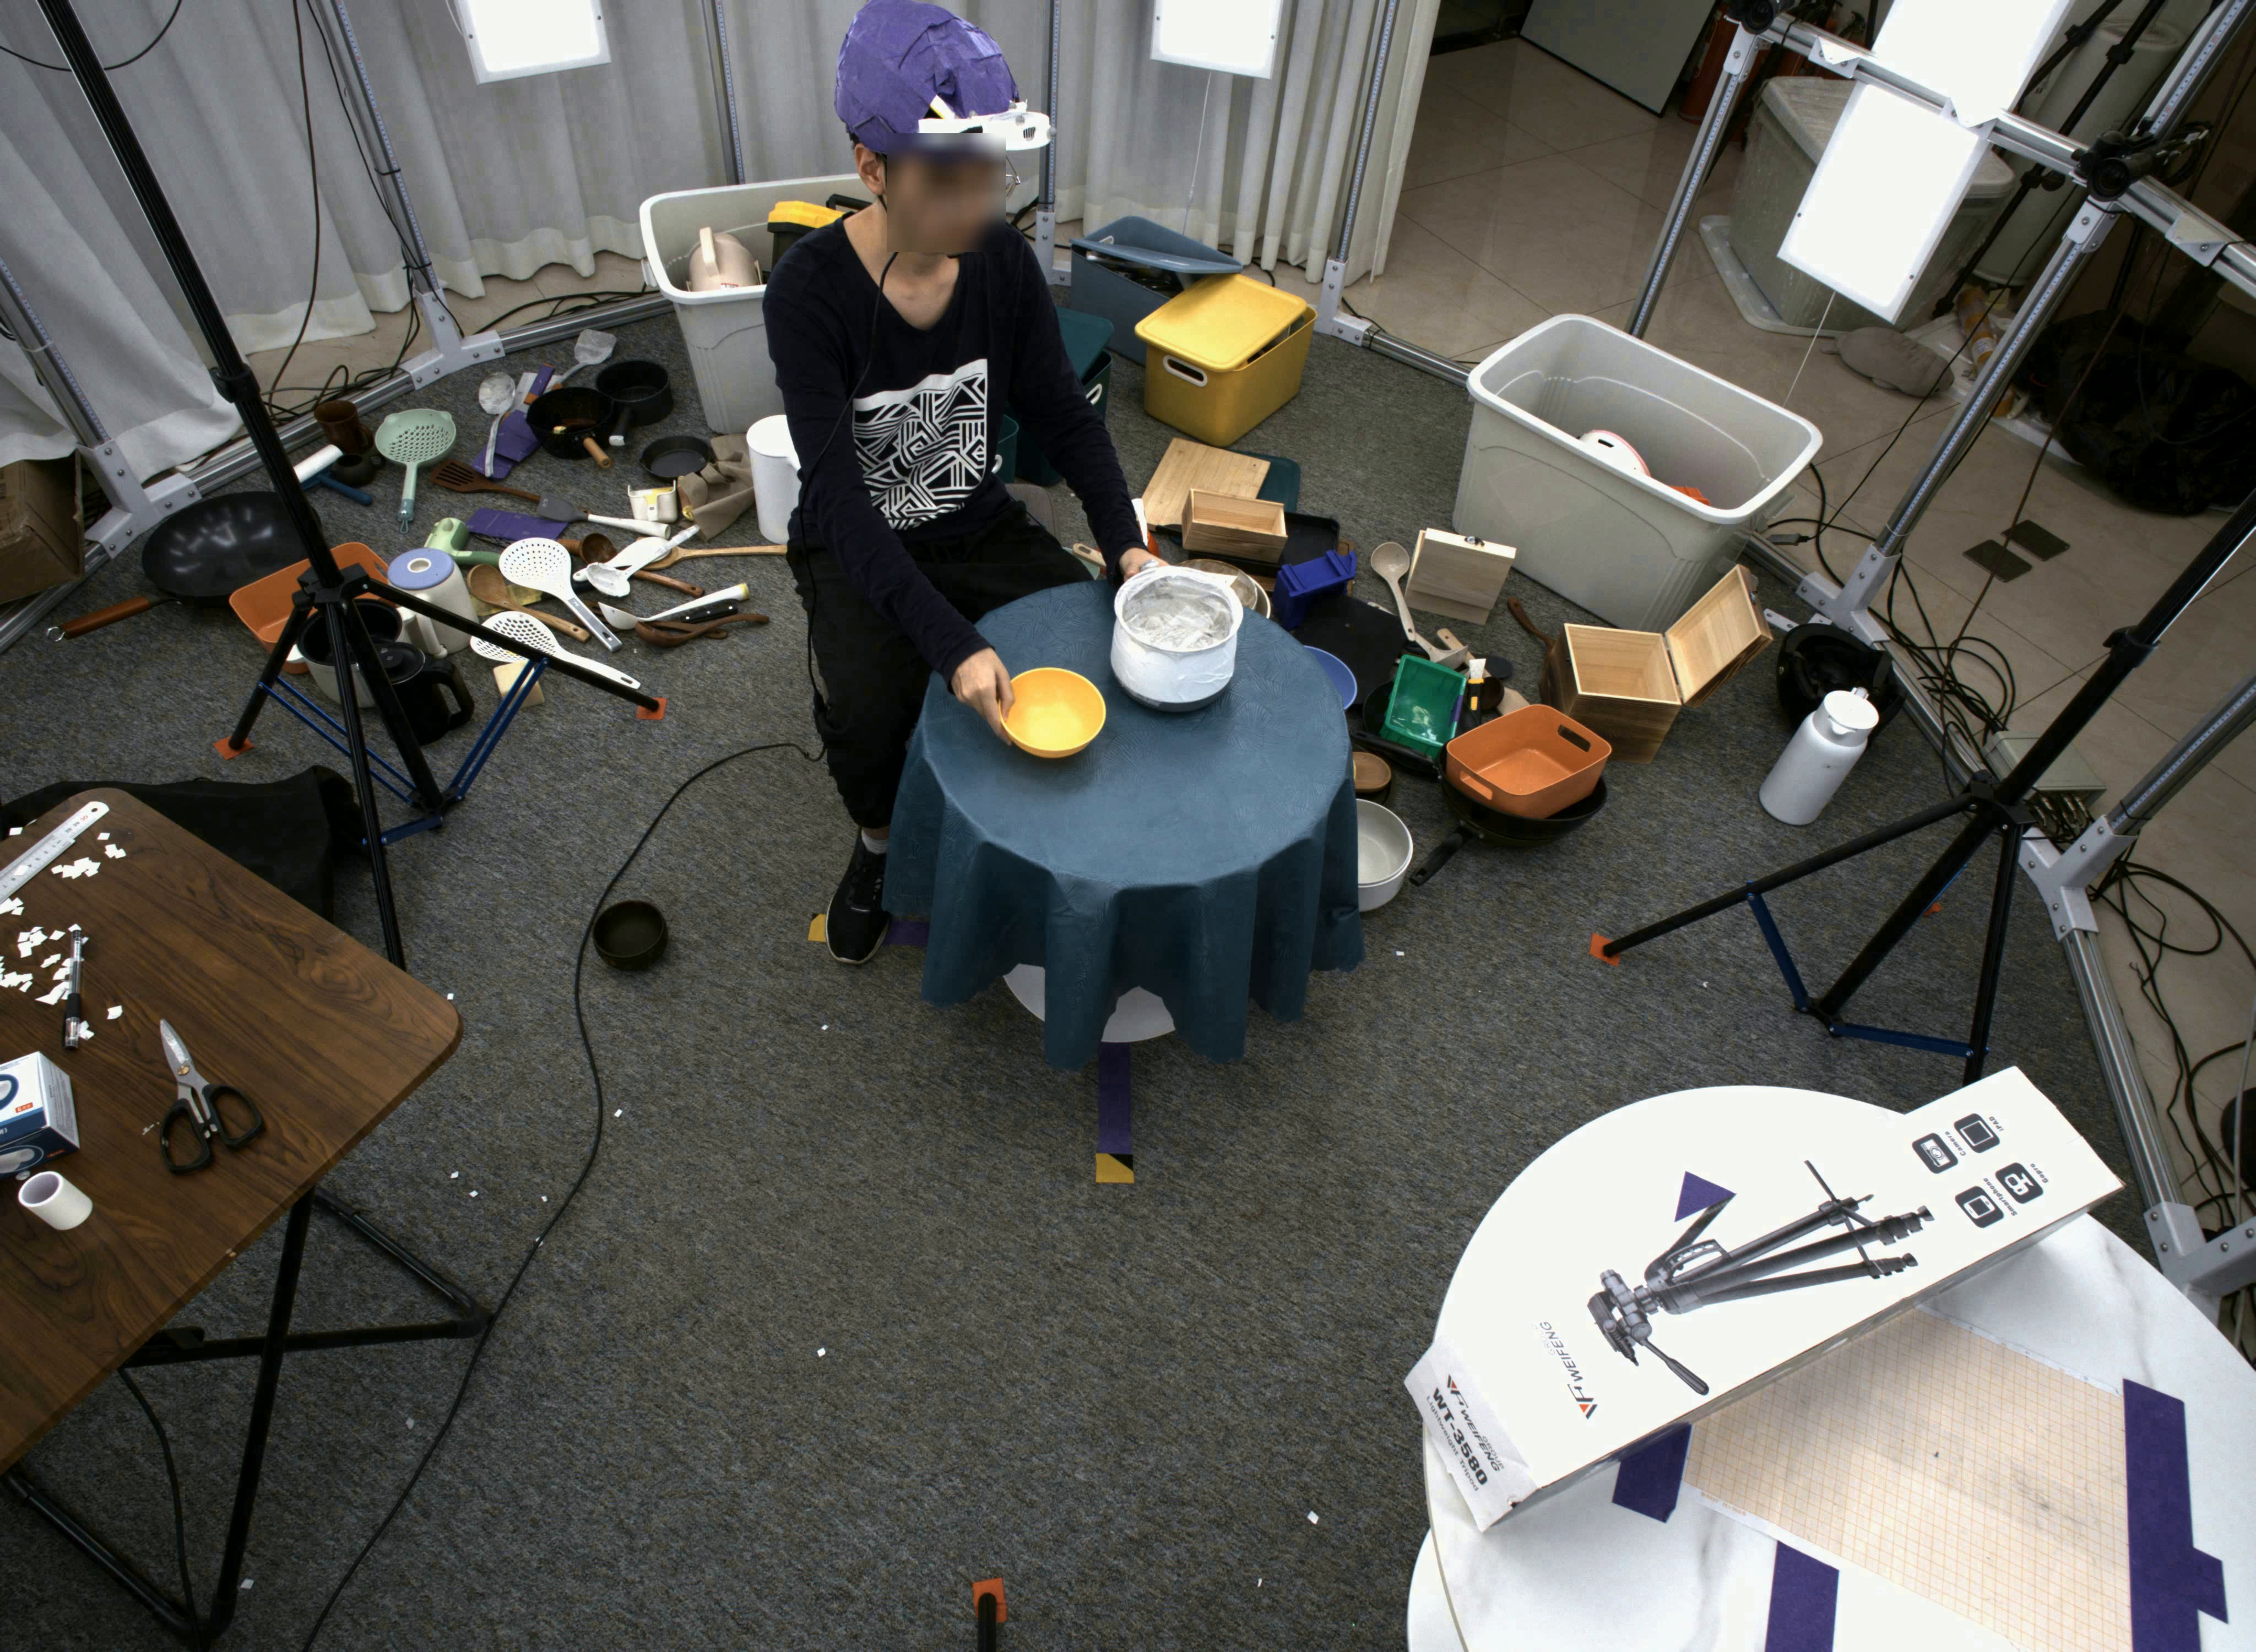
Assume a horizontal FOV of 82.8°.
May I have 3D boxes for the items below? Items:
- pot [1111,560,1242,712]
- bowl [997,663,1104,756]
[{"bbox_3d":[0.056,-0.279,1.828,0.179,0.133,0.239,-14,50,-16],"label":"pot"},{"bbox_3d":[-0.108,-0.146,1.735,0.145,0.059,0.148,5,57,-8],"label":"bowl"}]
